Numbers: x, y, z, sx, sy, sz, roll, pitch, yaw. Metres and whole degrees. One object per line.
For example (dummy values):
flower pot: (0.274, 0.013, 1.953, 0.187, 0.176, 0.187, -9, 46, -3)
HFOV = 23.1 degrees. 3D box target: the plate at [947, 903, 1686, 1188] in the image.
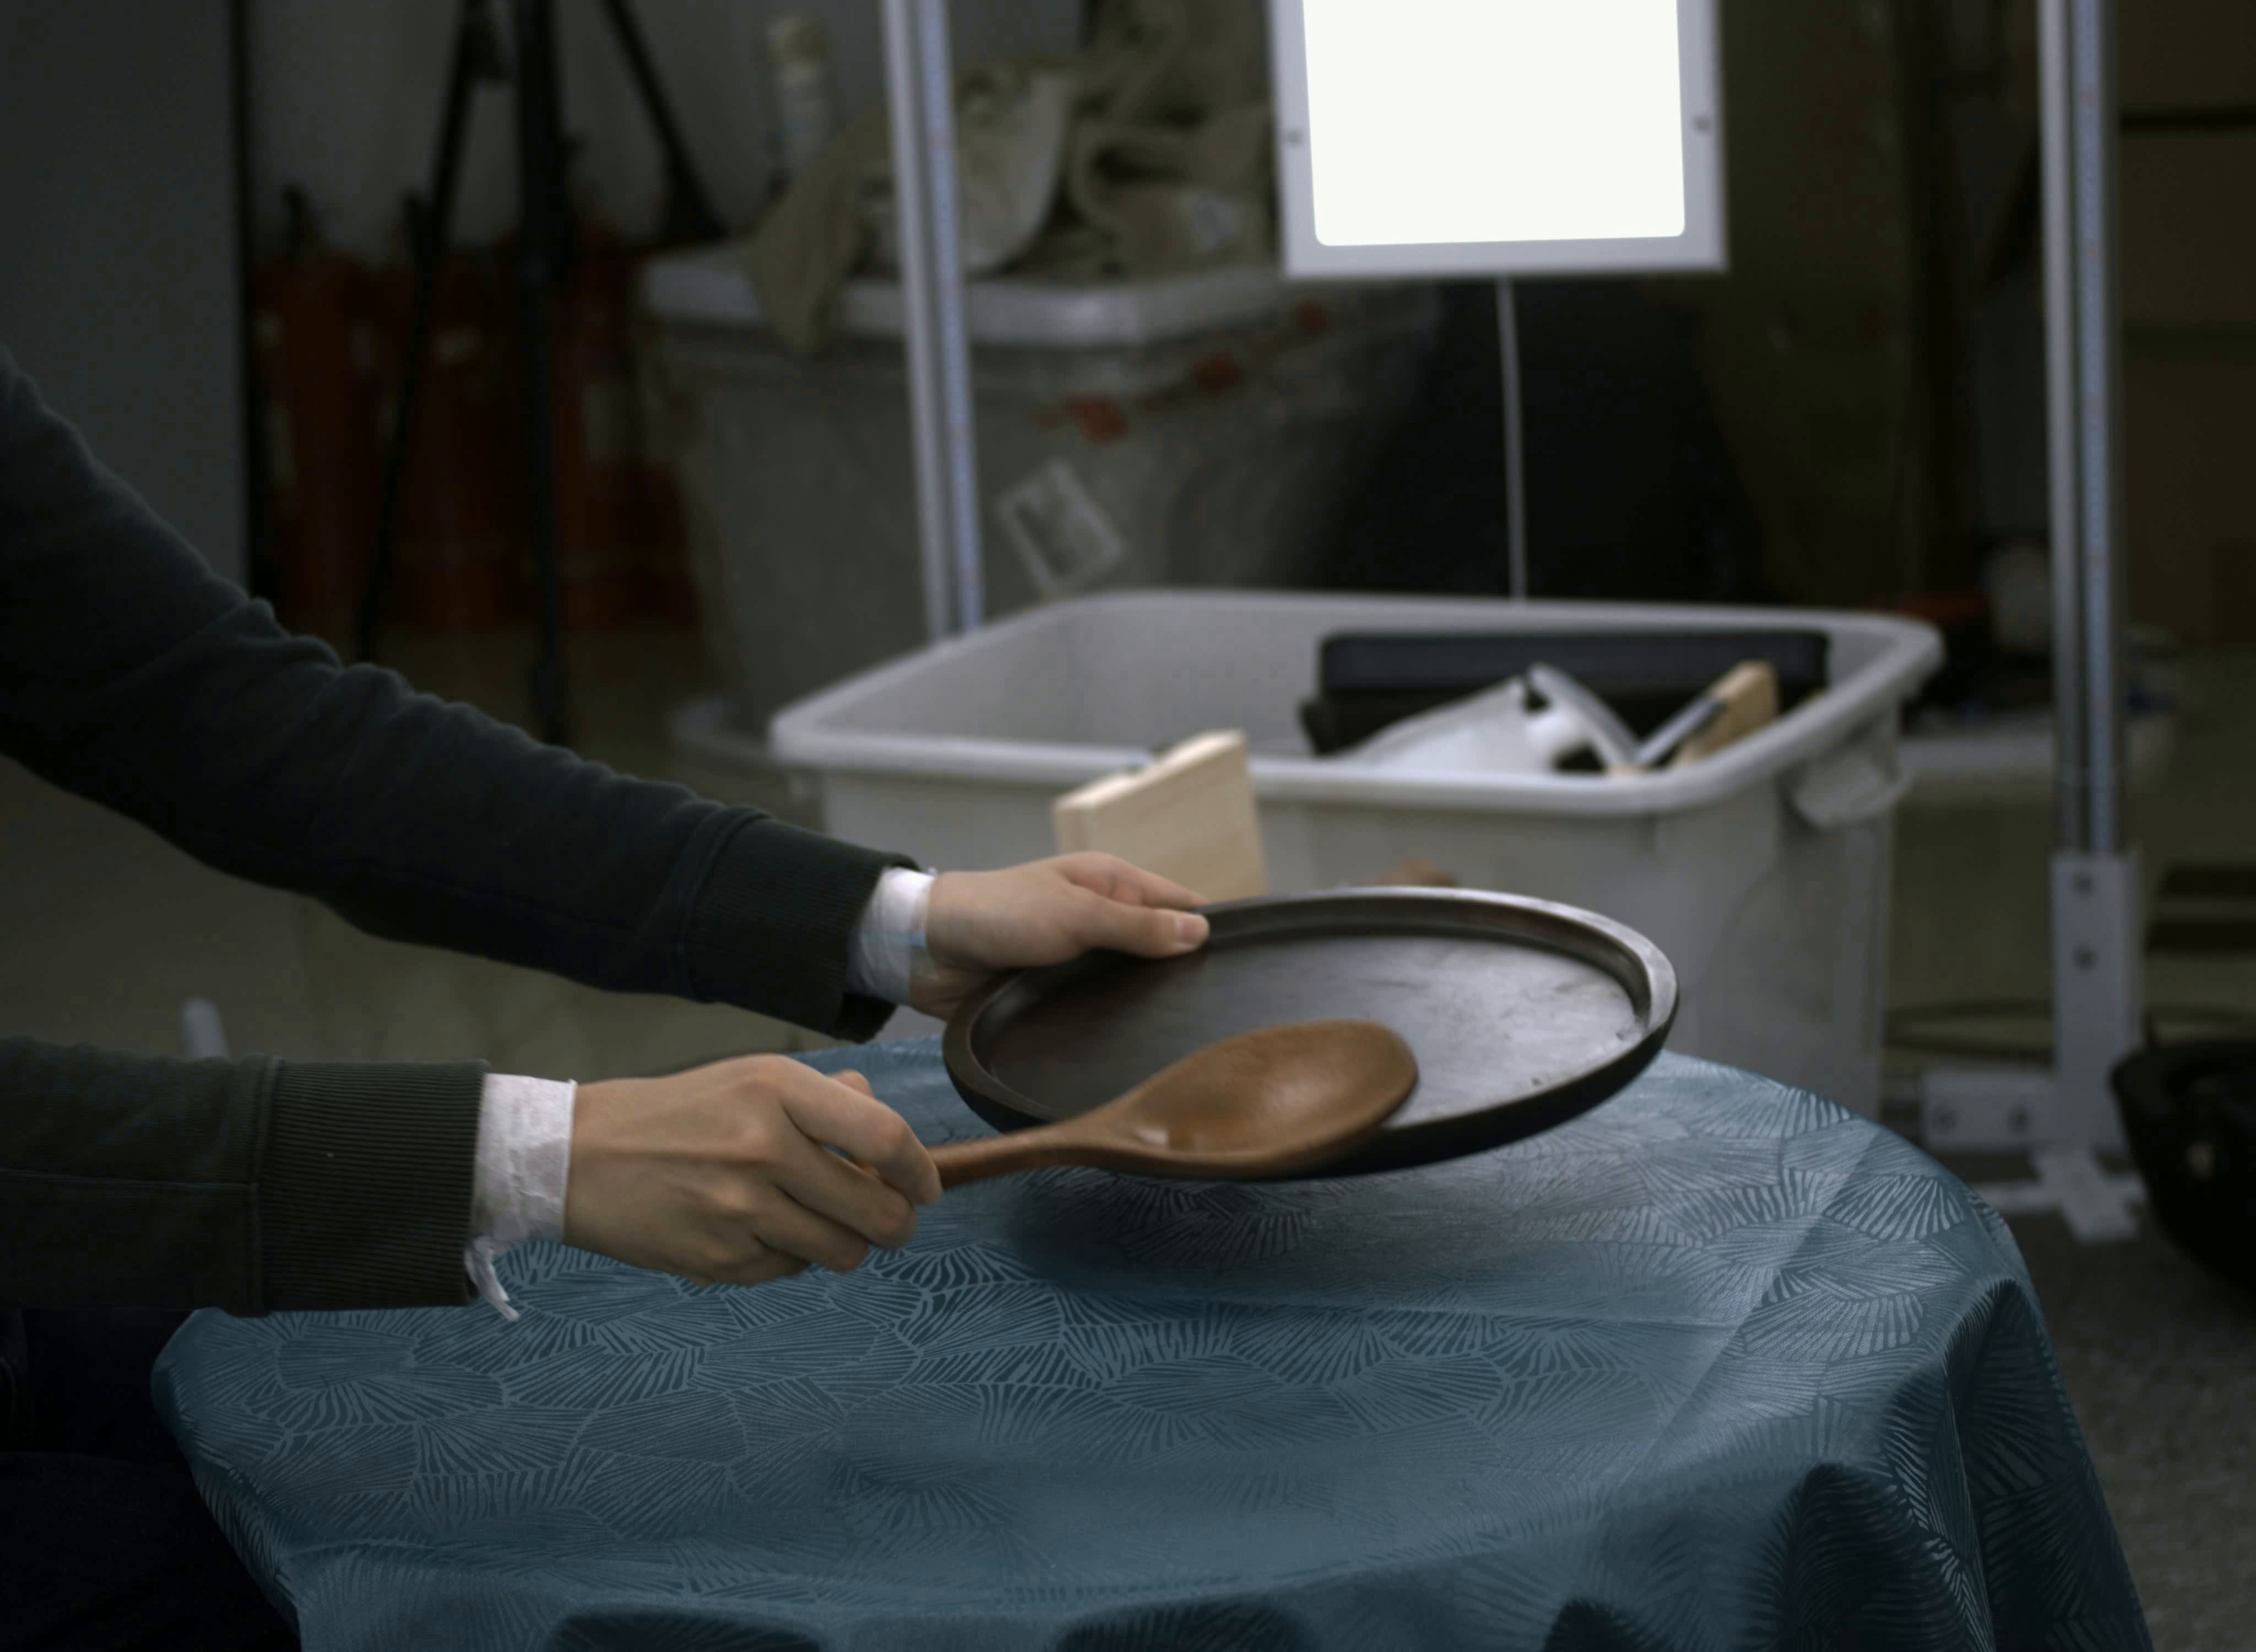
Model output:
plate: (0.064, 0.072, 1.874, 0.254, 0.029, 0.254, -5, 17, 0)

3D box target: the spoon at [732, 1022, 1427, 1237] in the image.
spoon: (-0.014, 0.097, 1.647, 0.217, 0.017, 0.075, -11, 29, 12)
